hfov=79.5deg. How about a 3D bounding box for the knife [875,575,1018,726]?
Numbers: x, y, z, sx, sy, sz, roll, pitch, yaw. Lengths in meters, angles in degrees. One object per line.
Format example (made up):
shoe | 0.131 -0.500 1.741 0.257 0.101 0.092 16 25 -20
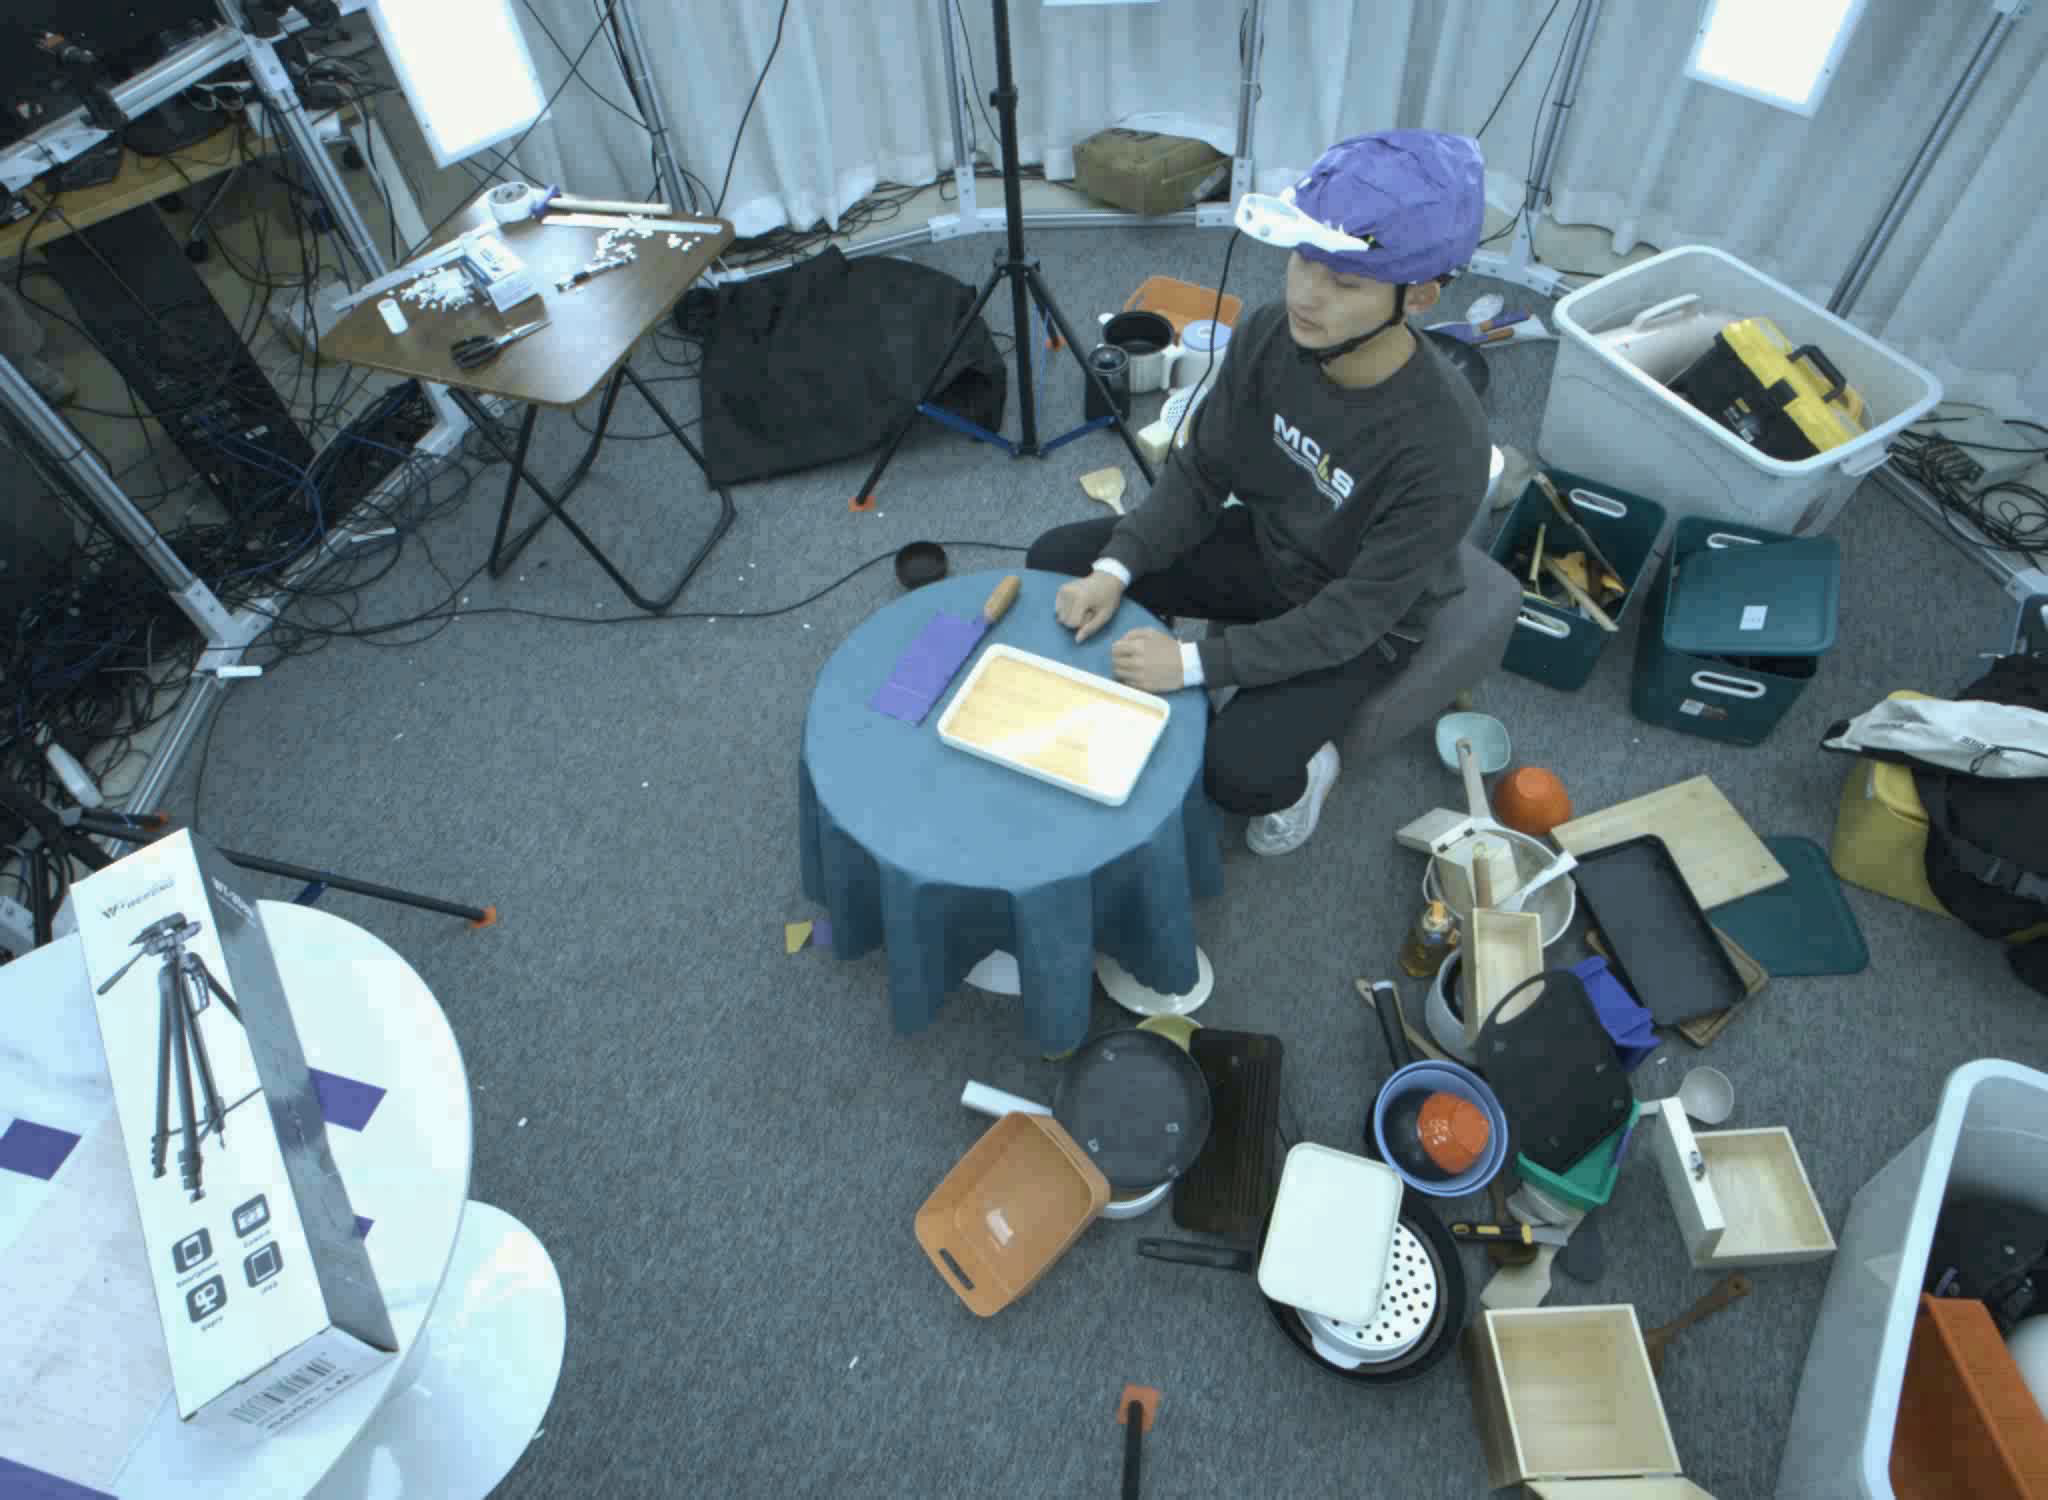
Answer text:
knife | -0.121 -0.168 1.902 0.102 0.032 0.316 23 59 17

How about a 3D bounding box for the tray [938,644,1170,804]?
tray | 0.044 -0.043 1.808 0.297 0.028 0.192 21 57 15
